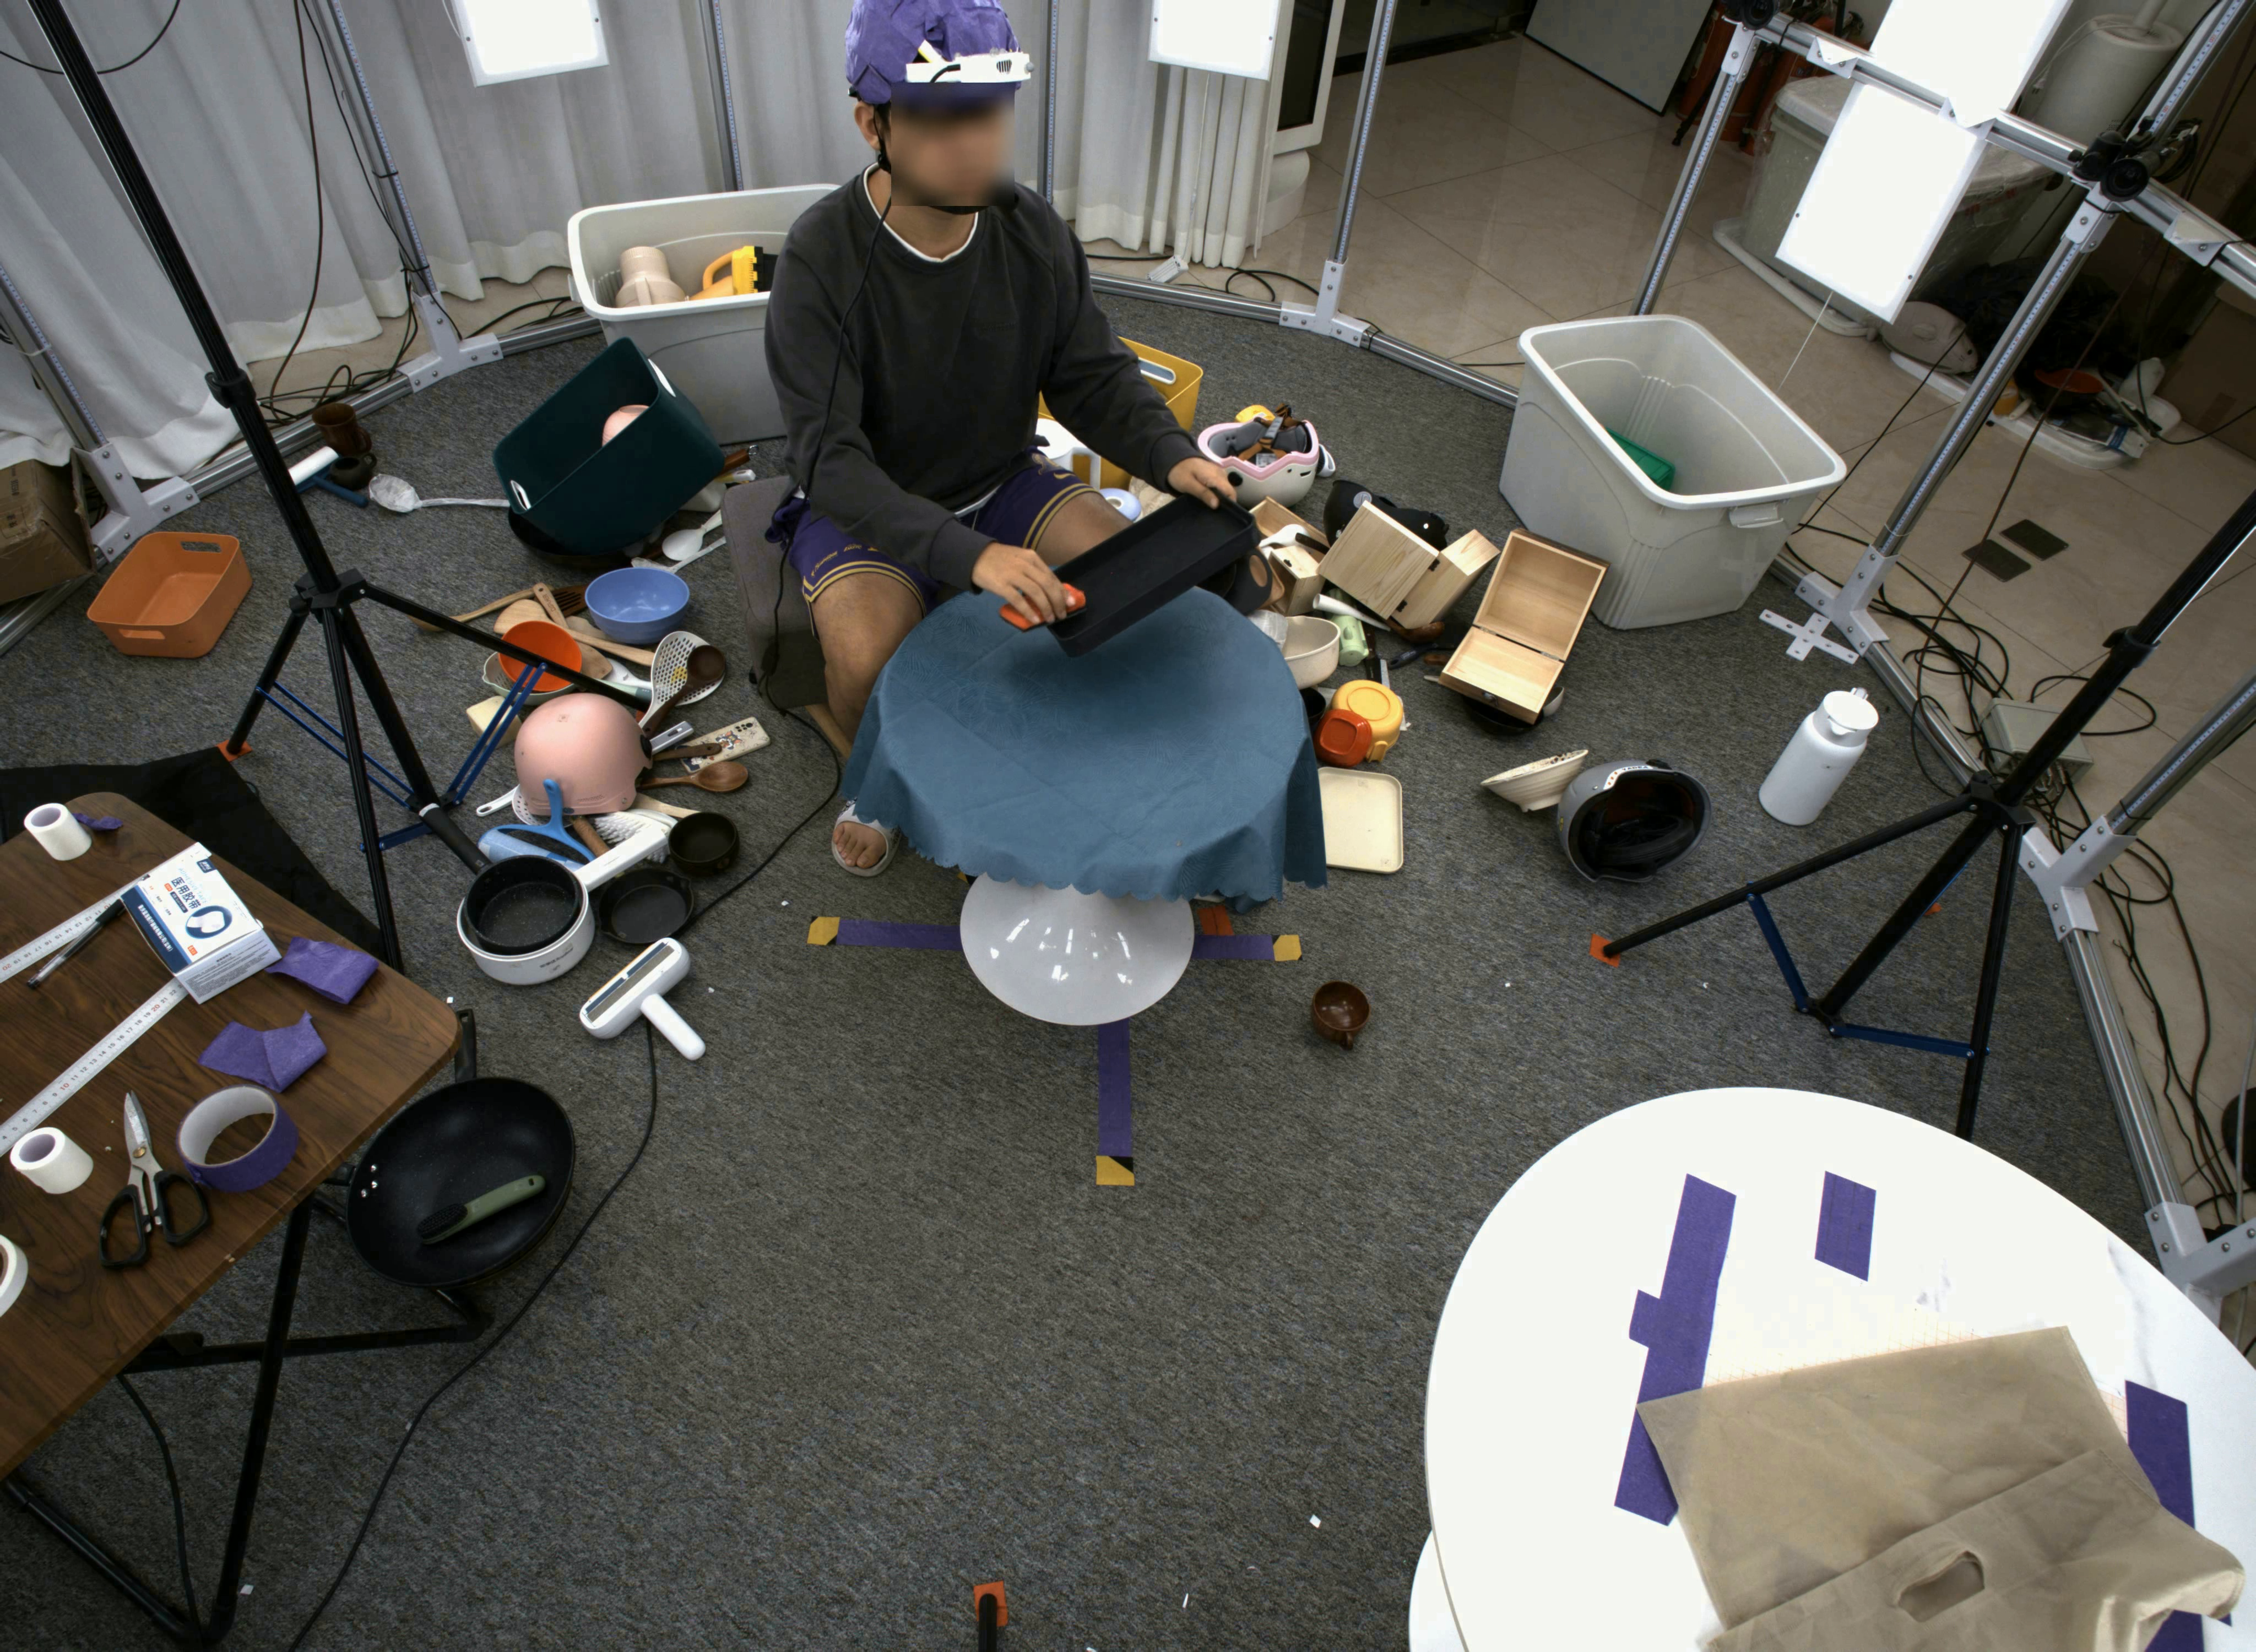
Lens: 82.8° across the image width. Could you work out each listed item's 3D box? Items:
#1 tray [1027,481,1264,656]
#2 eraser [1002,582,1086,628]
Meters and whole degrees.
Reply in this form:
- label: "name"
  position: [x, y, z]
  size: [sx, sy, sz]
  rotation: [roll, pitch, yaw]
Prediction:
- label: "tray"
  position: [0.022, -0.362, 1.791]
  size: [0.318, 0.036, 0.188]
  rotation: [-33, 37, -5]
- label: "eraser"
  position: [-0.115, -0.304, 1.762]
  size: [0.108, 0.022, 0.060]
  rotation: [-28, 32, -27]
